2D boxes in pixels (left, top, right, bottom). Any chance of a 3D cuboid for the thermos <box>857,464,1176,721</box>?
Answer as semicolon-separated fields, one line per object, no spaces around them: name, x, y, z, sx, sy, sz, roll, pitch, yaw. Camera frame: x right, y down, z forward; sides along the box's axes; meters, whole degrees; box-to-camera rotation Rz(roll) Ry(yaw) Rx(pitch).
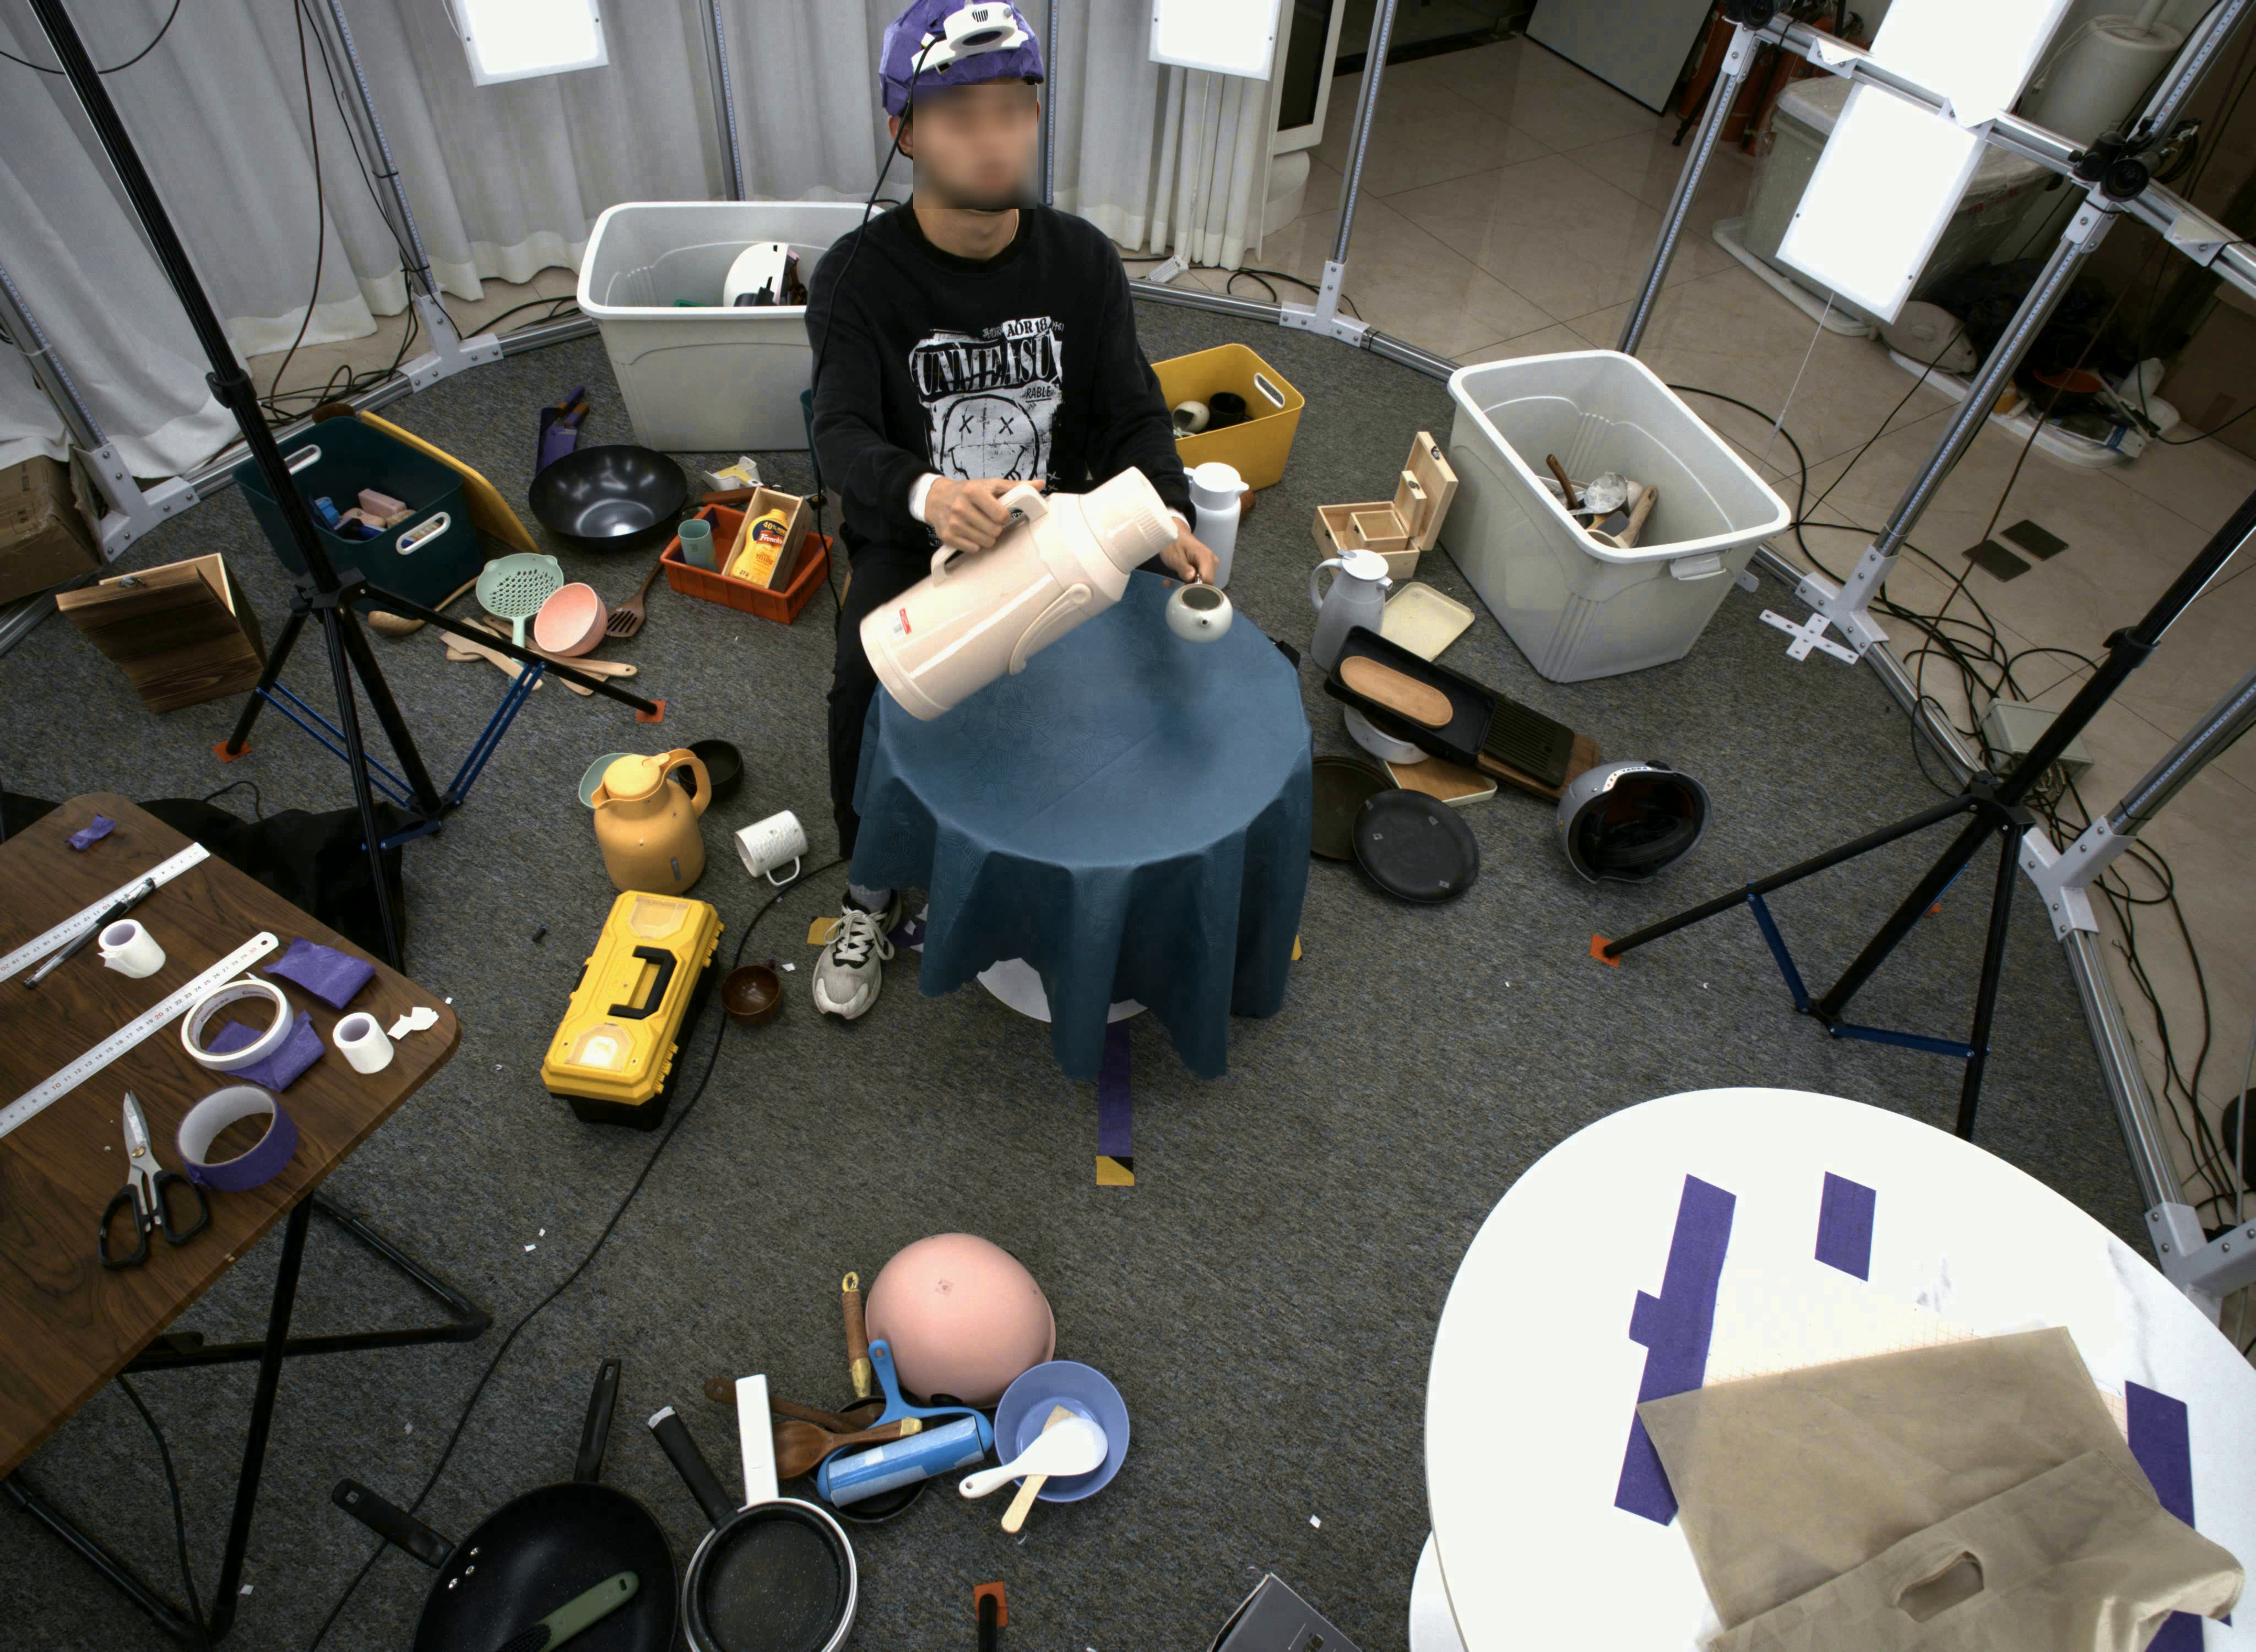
thermos;-0.143;-0.306;1.606;0.404;0.203;0.180;-29;42;18

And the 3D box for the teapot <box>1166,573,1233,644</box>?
teapot;0.096;-0.294;1.745;0.092;0.058;0.131;-3;45;-3
